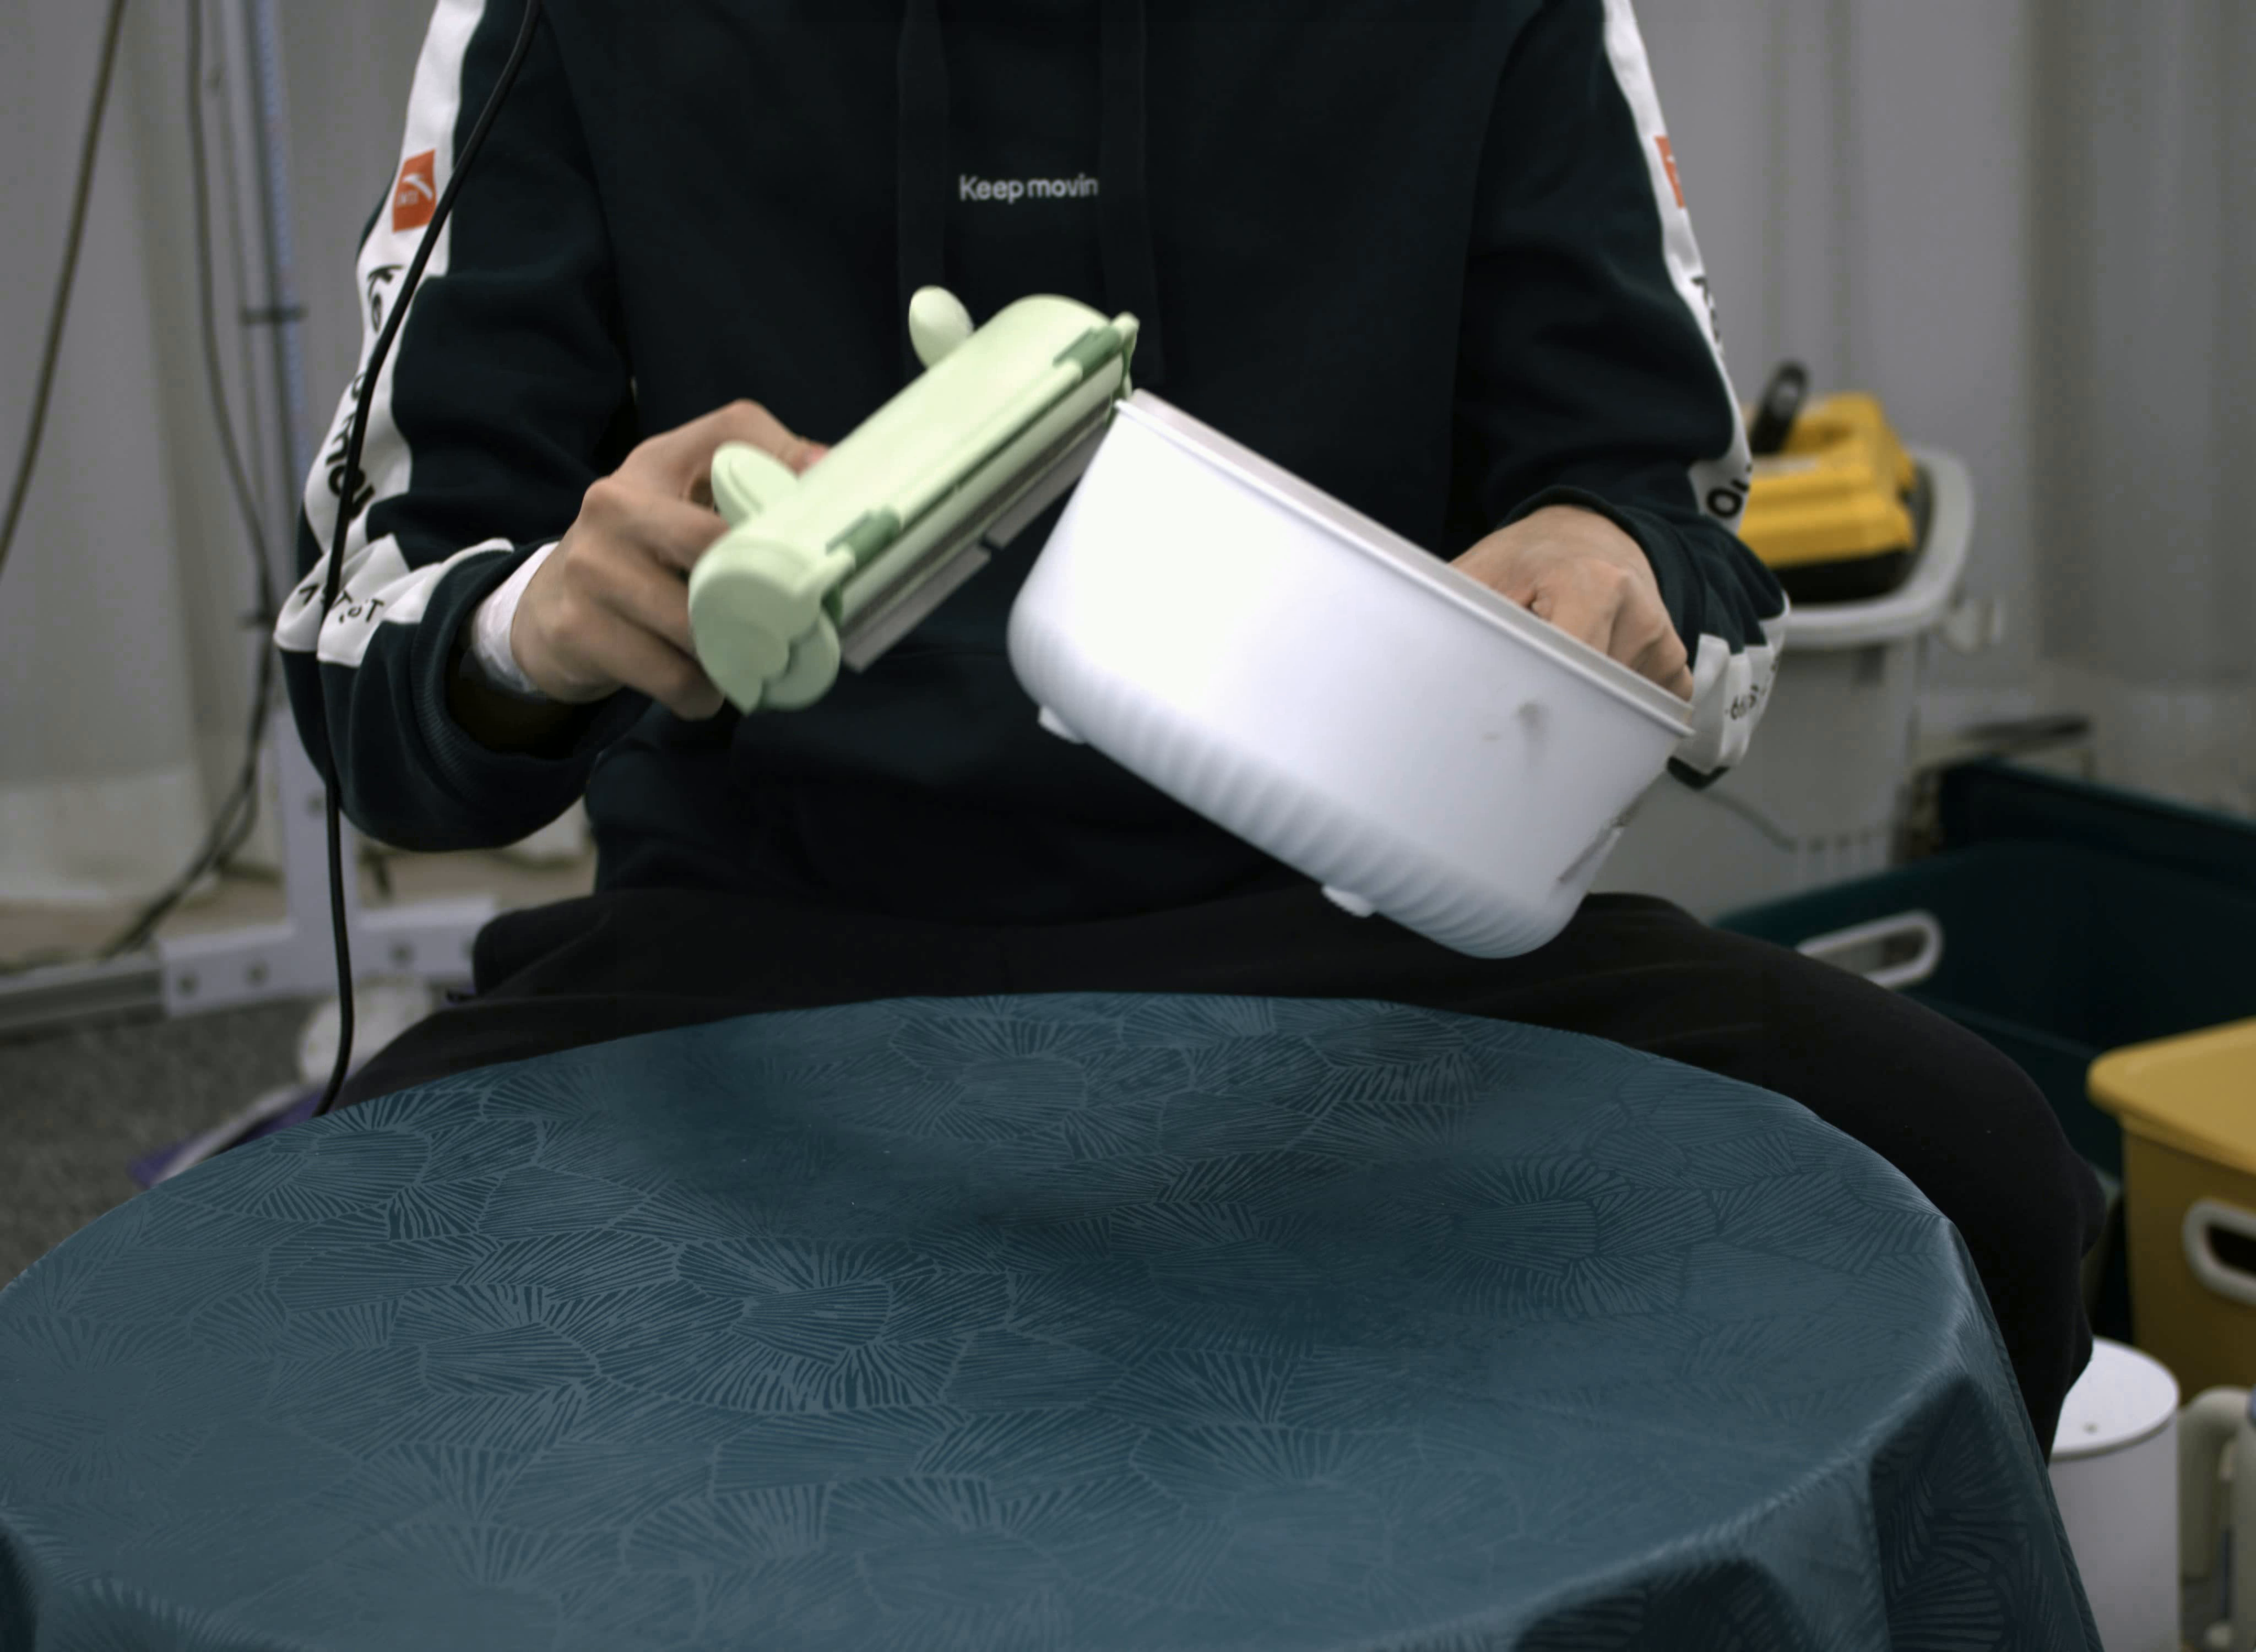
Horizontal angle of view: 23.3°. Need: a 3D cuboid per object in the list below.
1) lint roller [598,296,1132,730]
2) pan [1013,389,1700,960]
[{"bbox_3d":[-0.111,-0.094,1.715,0.183,0.081,0.200,-12,22,38],"label":"lint roller"},{"bbox_3d":[0.085,-0.031,1.723,0.202,0.102,0.352,31,2,18],"label":"pan"}]
